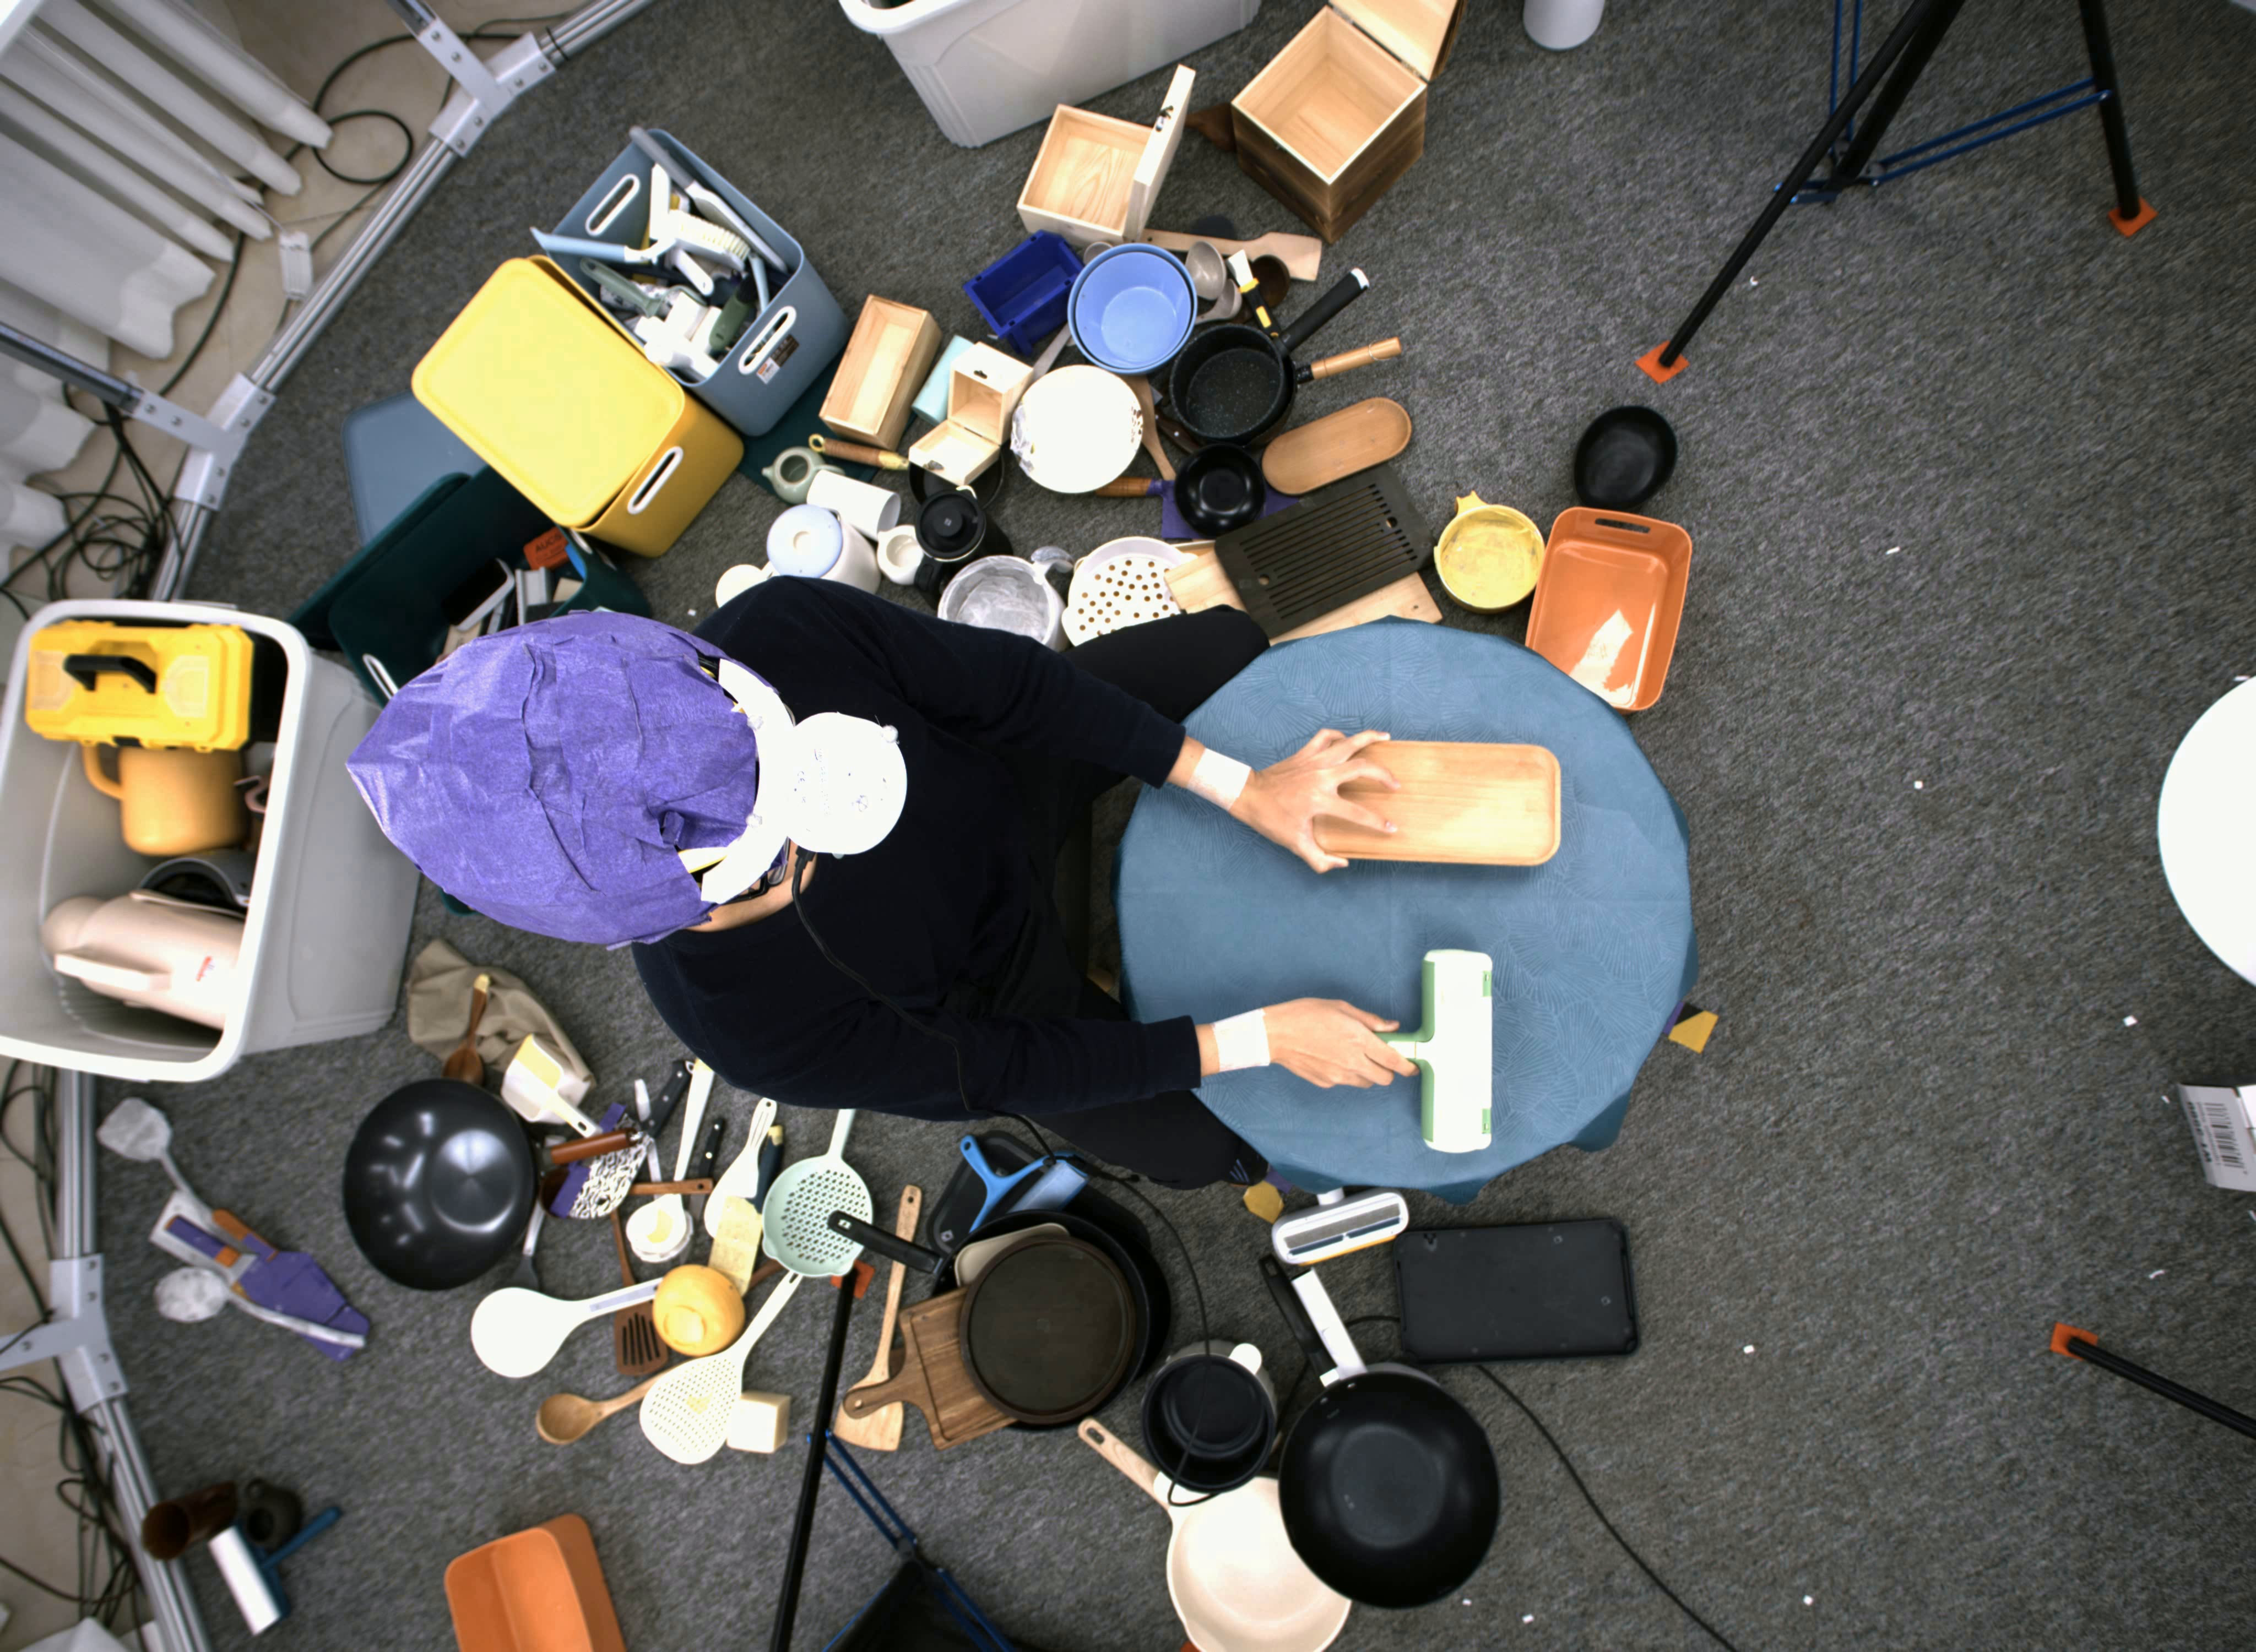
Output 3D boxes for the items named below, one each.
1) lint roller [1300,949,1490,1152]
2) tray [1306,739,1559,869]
[{"bbox_3d":[0.265,0.221,1.363,0.183,0.082,0.199,-1,93,1],"label":"lint roller"},{"bbox_3d":[0.309,-0.024,1.402,0.251,0.023,0.128,3,75,11],"label":"tray"}]
